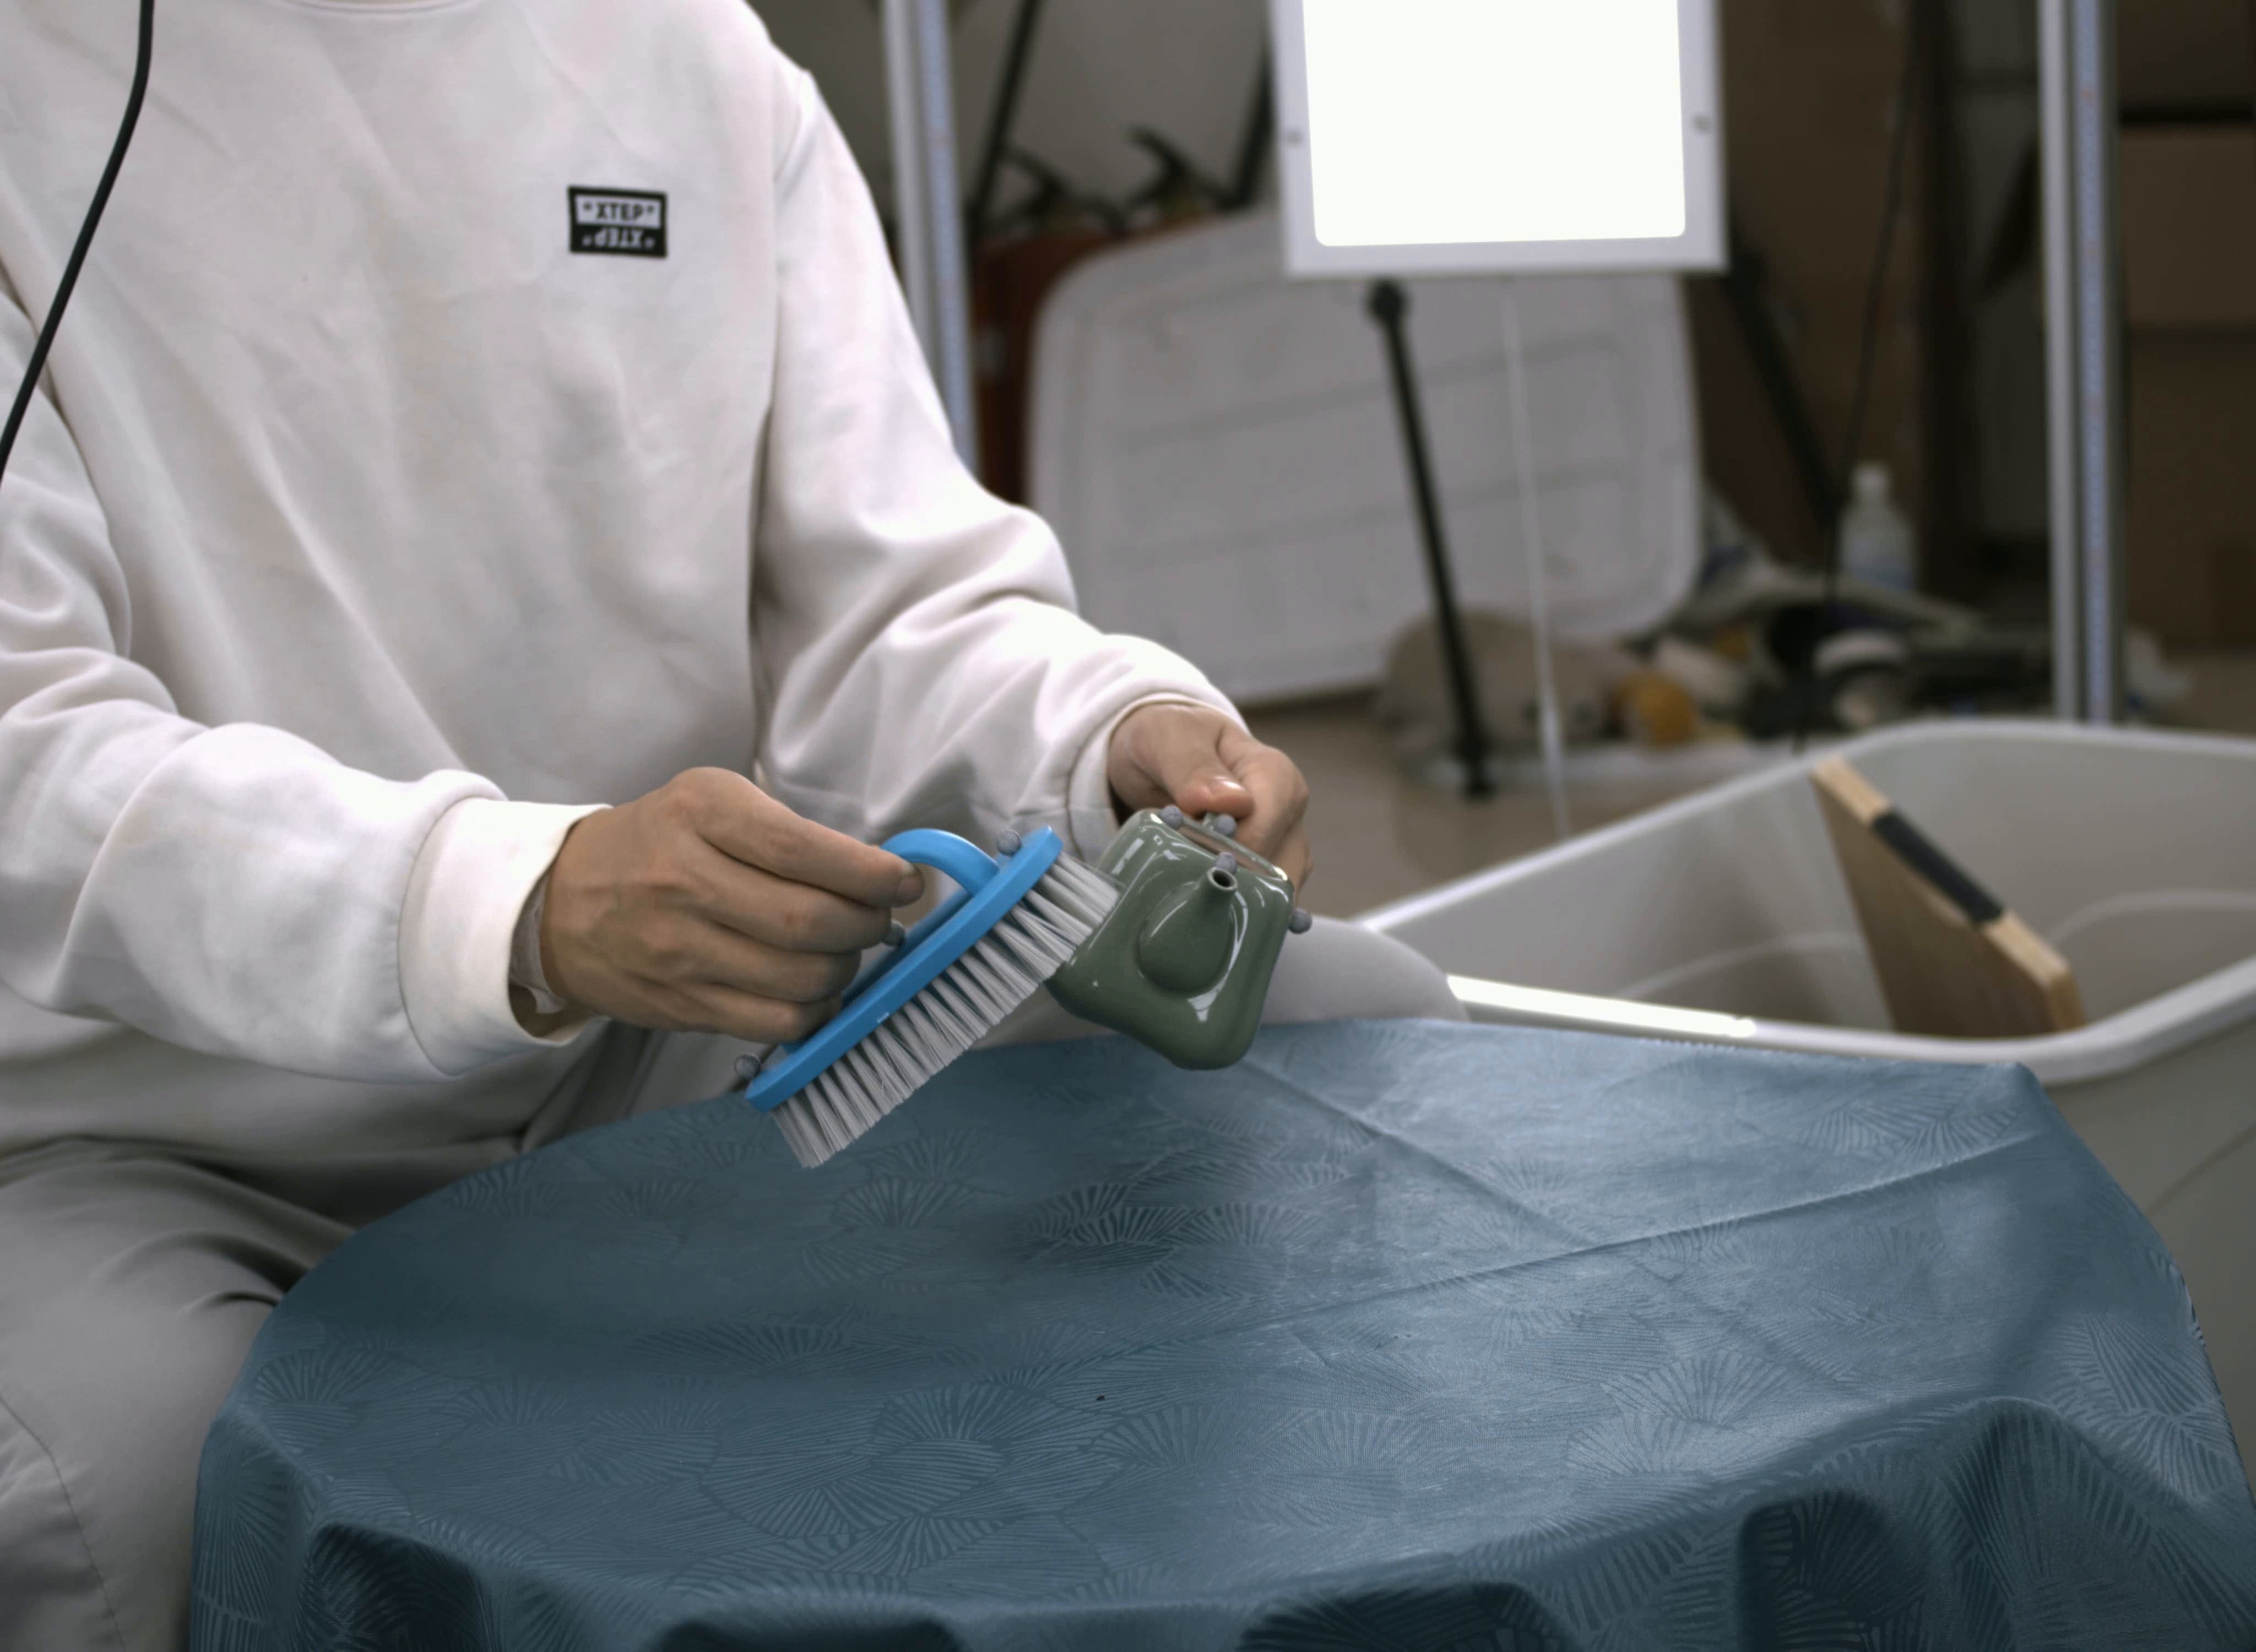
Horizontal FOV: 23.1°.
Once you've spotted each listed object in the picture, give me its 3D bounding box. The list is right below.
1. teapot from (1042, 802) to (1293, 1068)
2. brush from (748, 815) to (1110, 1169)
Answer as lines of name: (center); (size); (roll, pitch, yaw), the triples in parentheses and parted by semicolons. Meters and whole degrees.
teapot: (0.016, 0.034, 1.855); (0.079, 0.075, 0.132); (28, 9, -3)
brush: (-0.075, 0.045, 1.769); (0.144, 0.063, 0.083); (-41, 10, 25)
